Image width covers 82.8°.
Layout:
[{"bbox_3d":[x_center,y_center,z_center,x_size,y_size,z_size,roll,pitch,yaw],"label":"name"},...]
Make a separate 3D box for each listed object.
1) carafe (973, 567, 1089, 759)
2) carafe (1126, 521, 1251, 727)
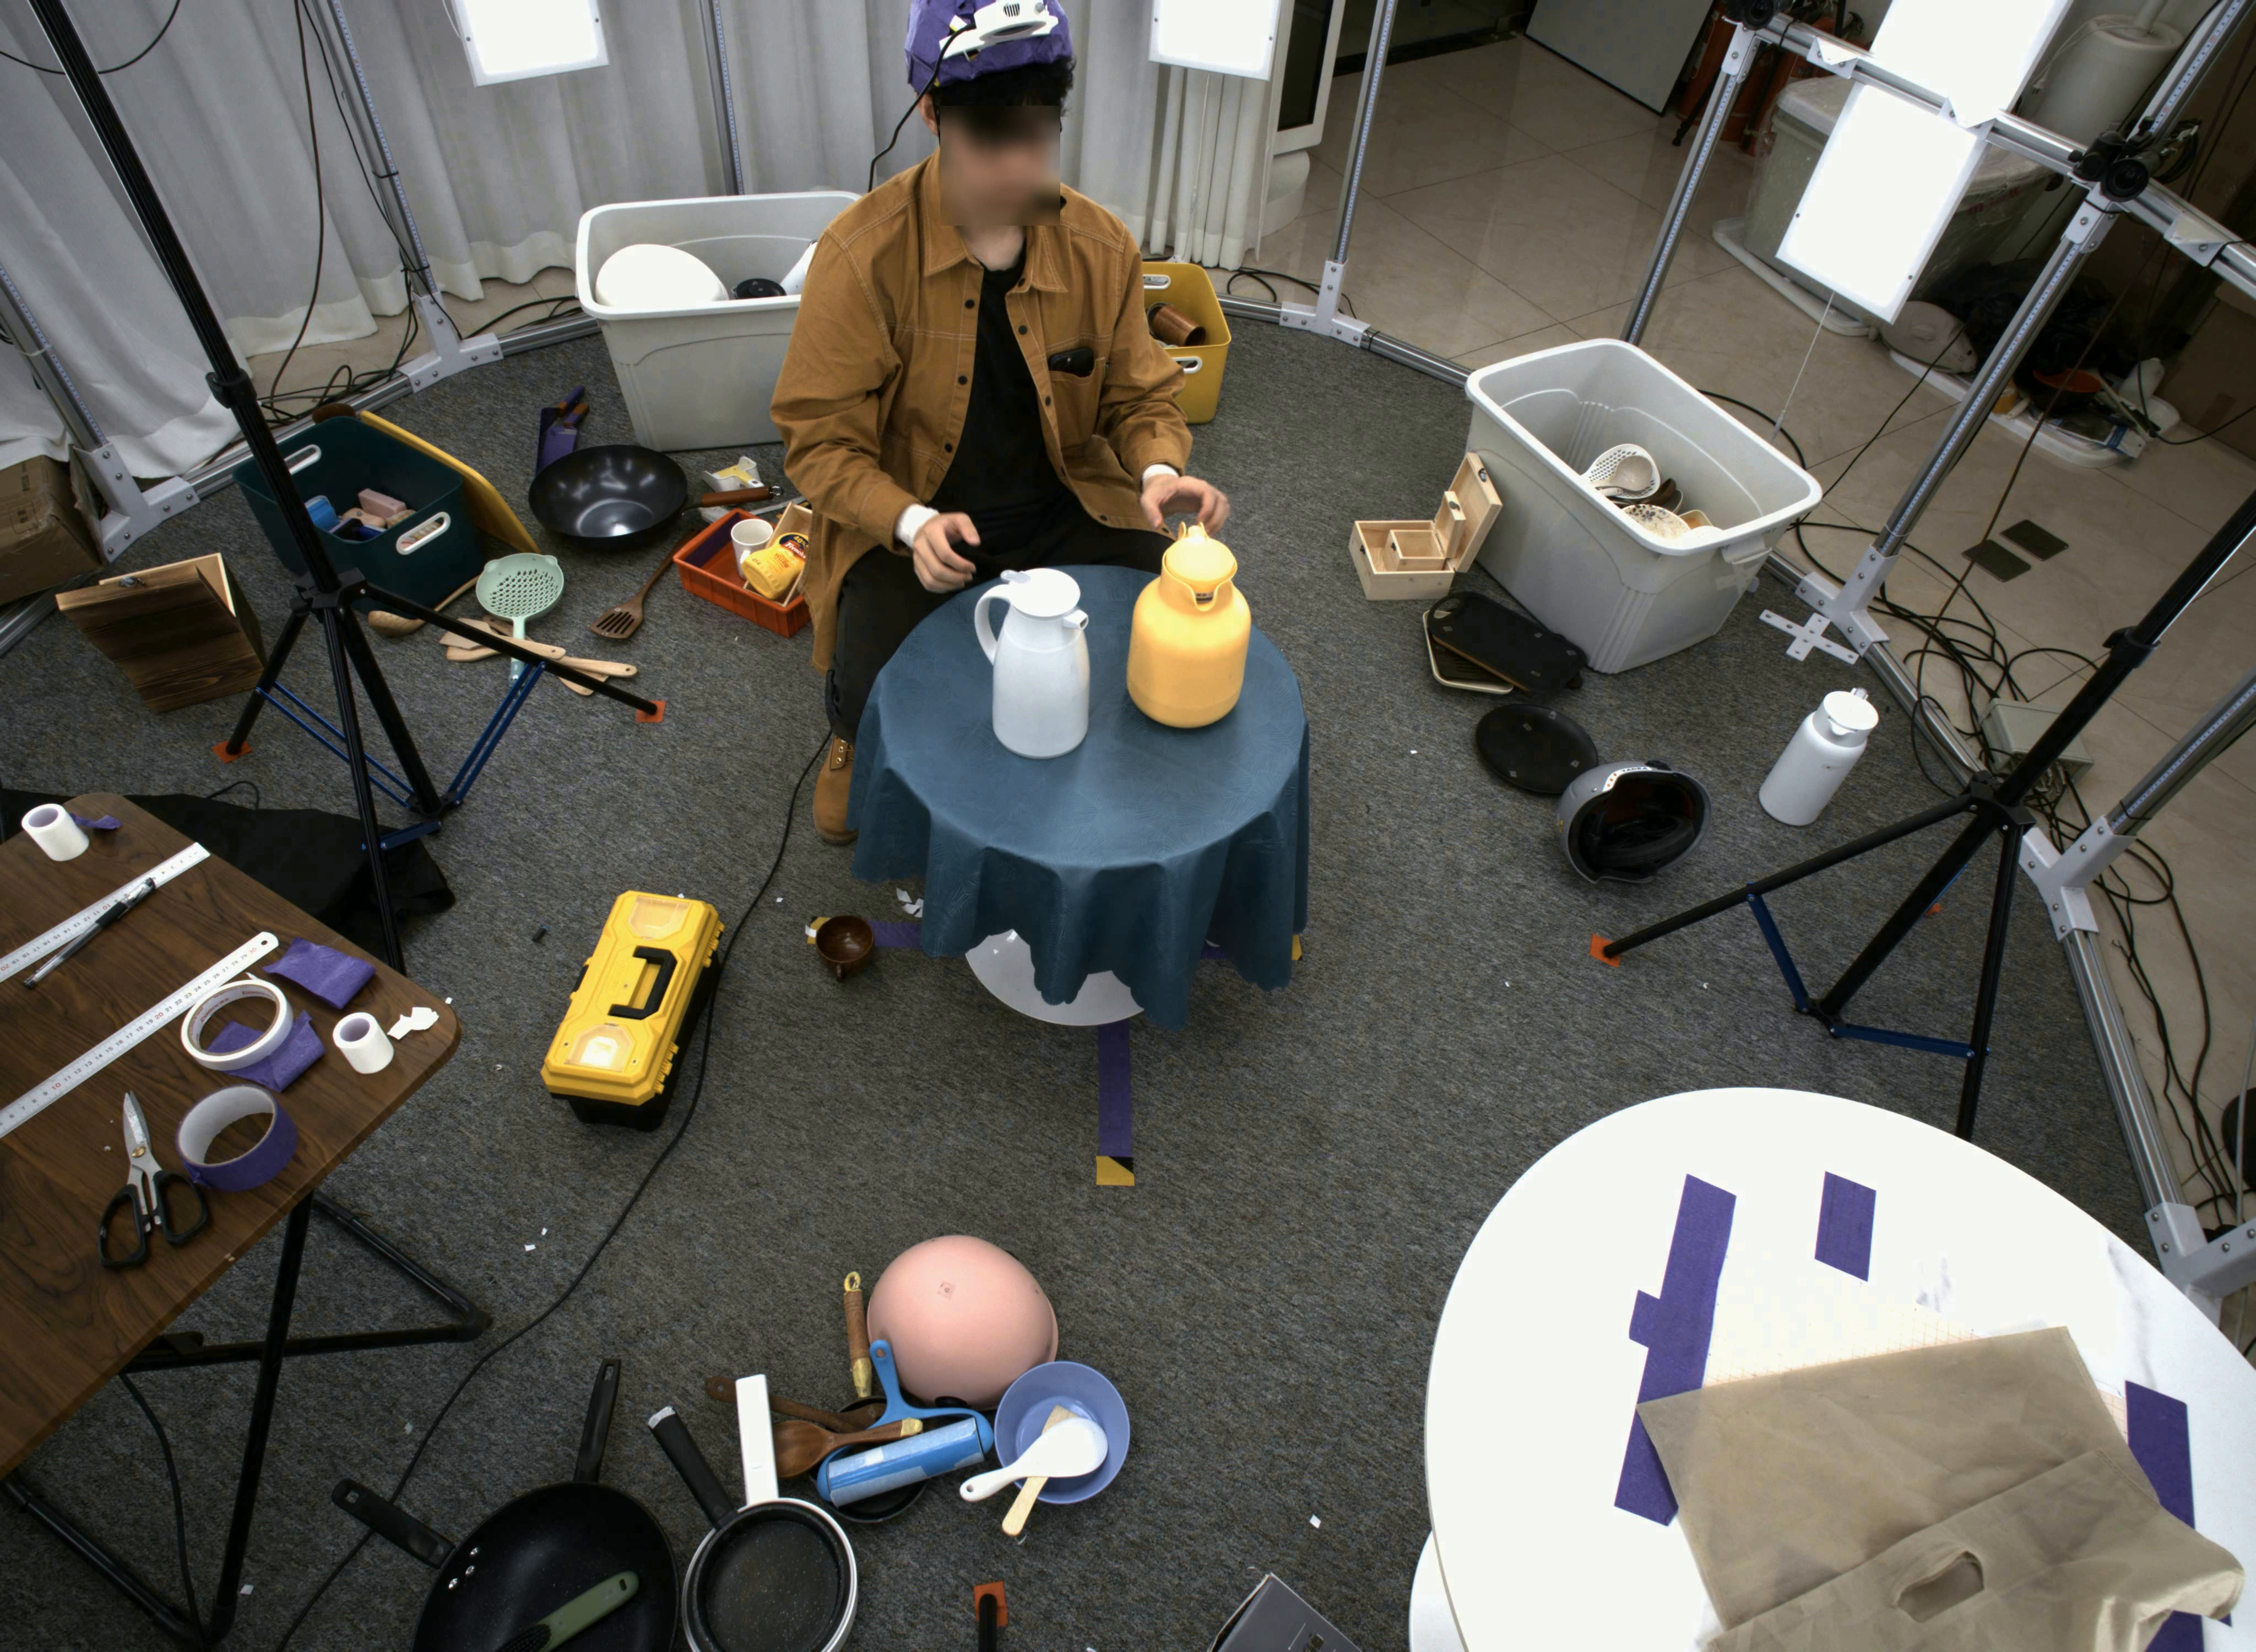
[{"bbox_3d":[-0.131,-0.227,1.698,0.169,0.242,0.134,27,53,19],"label":"carafe"},{"bbox_3d":[0.086,-0.282,1.752,0.163,0.254,0.207,2,50,-4],"label":"carafe"}]
